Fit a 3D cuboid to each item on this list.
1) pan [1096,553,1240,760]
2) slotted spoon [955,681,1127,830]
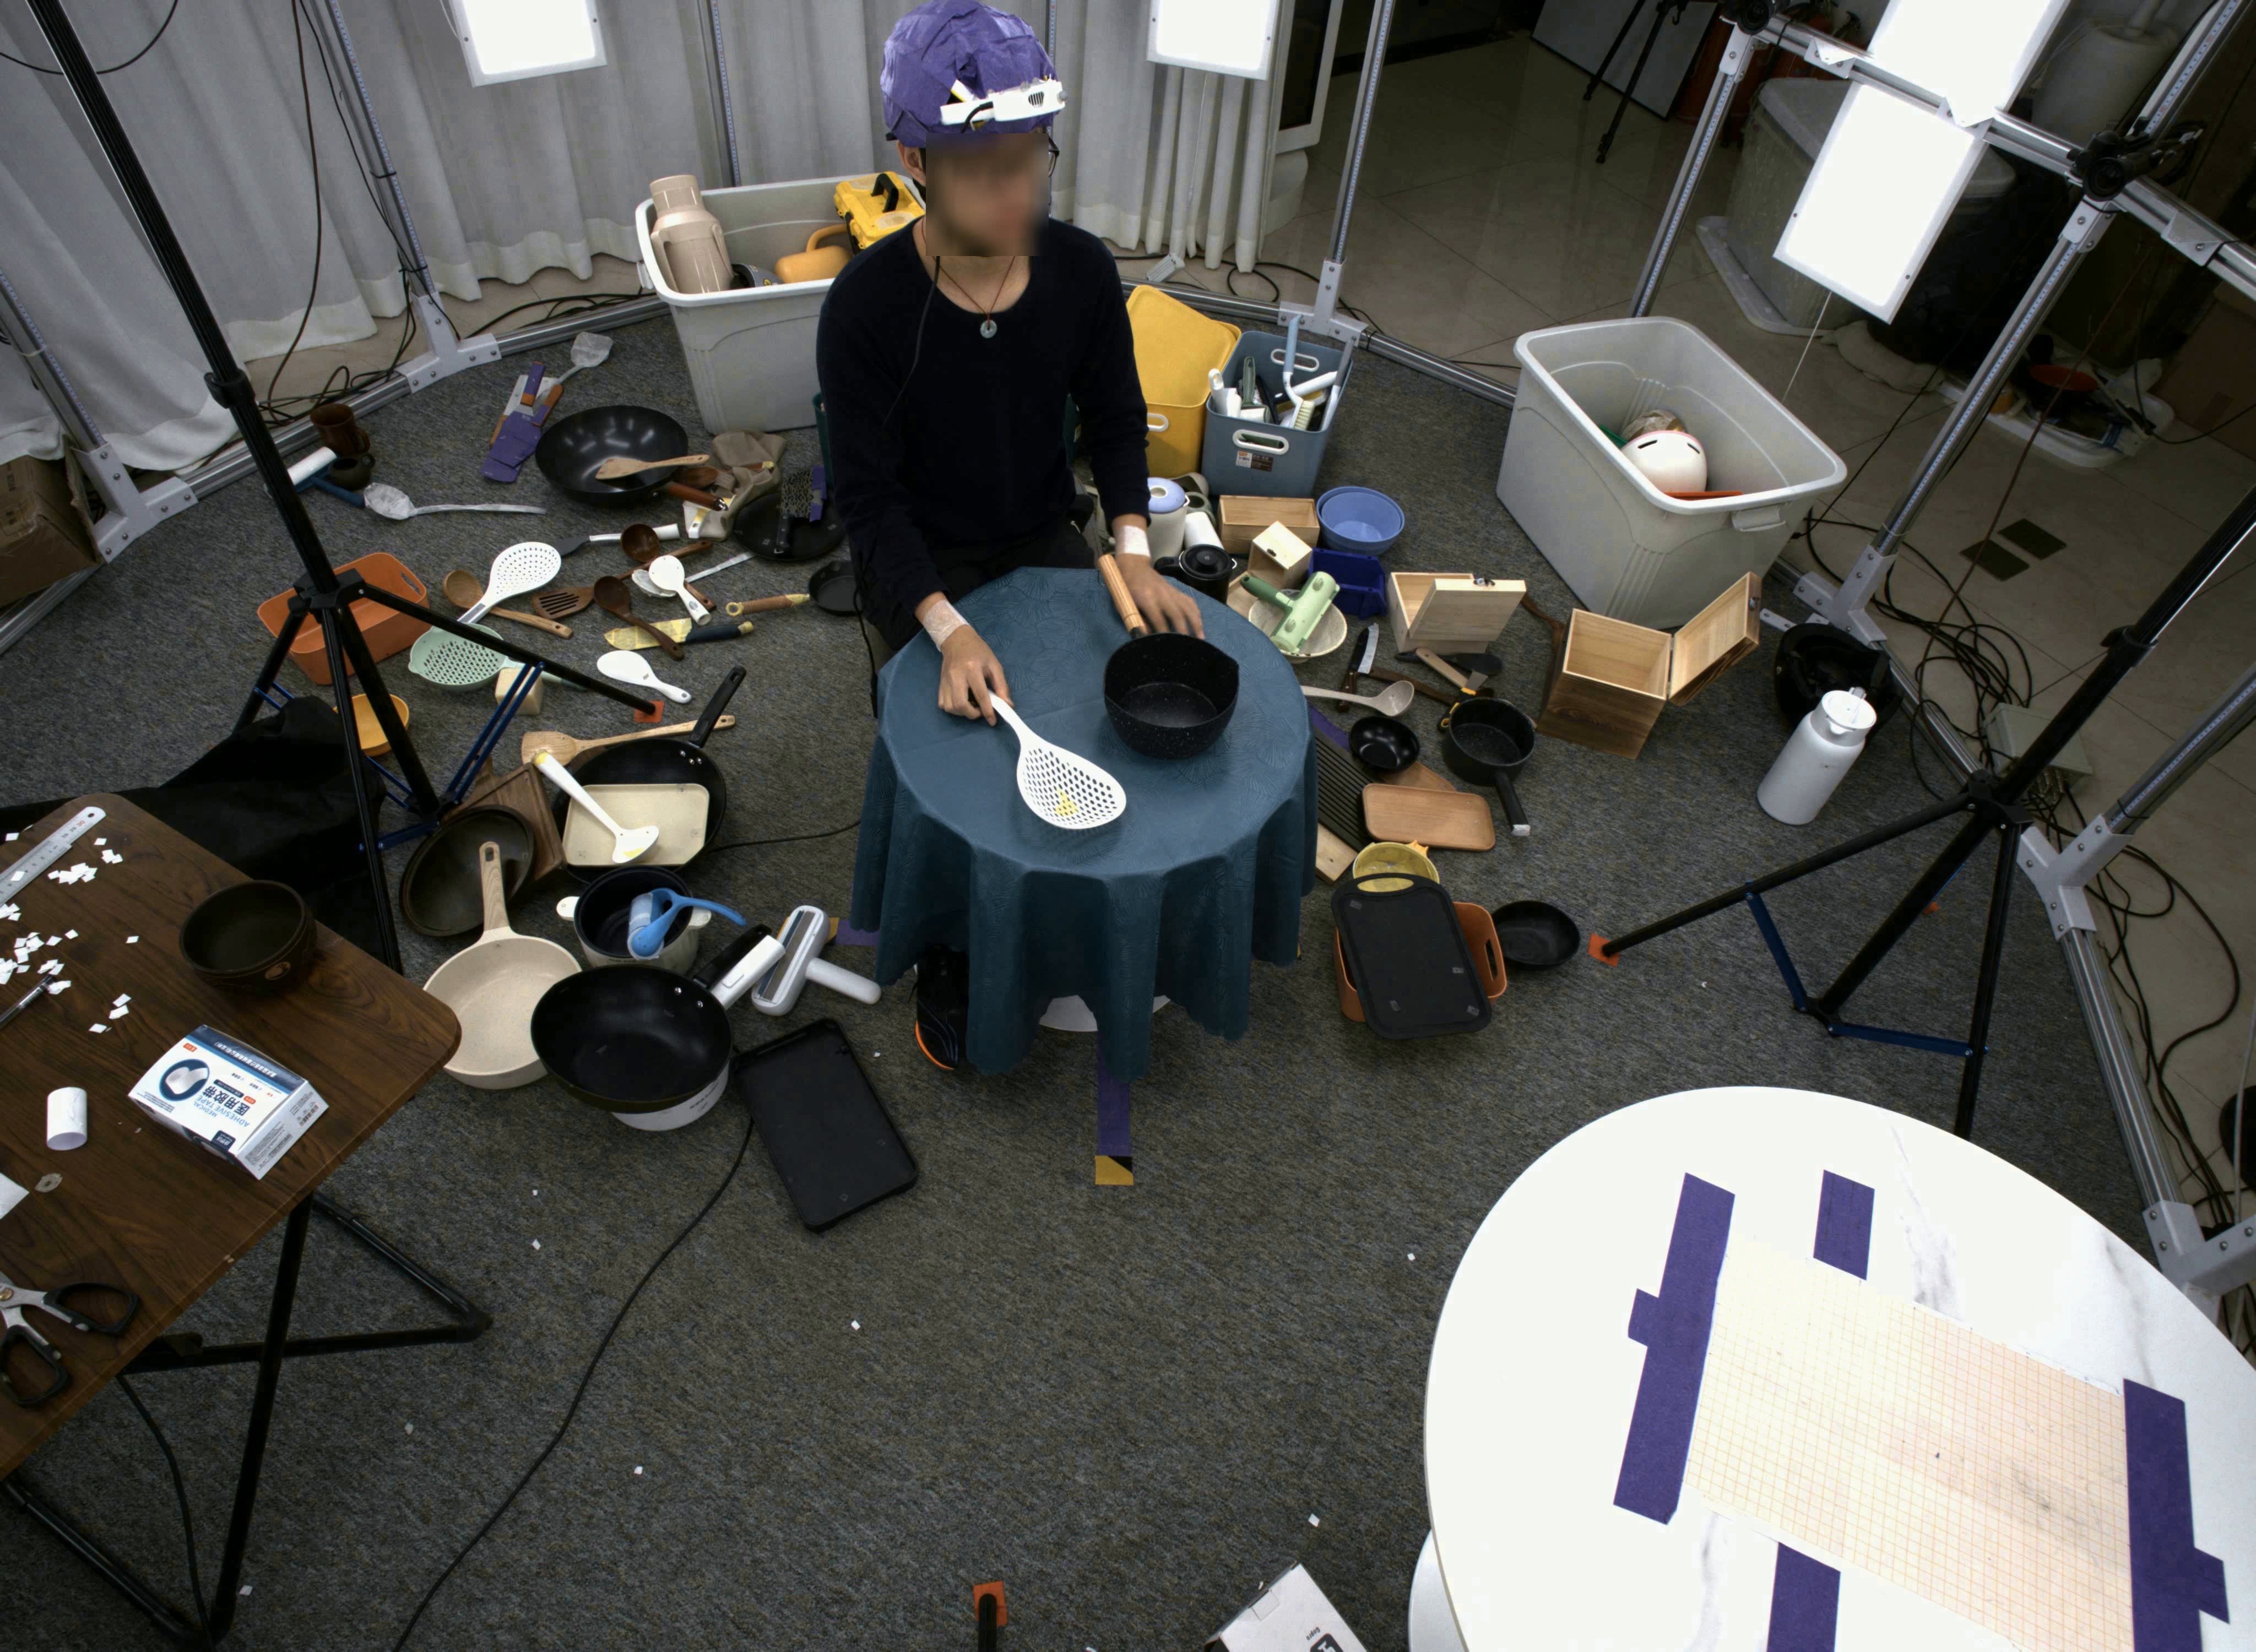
[{"bbox_3d":[0.026,-0.239,1.808,0.207,0.105,0.351,-17,53,-16],"label":"pan"},{"bbox_3d":[-0.134,-0.105,1.722,0.137,0.049,0.355,-18,53,-30],"label":"slotted spoon"}]
